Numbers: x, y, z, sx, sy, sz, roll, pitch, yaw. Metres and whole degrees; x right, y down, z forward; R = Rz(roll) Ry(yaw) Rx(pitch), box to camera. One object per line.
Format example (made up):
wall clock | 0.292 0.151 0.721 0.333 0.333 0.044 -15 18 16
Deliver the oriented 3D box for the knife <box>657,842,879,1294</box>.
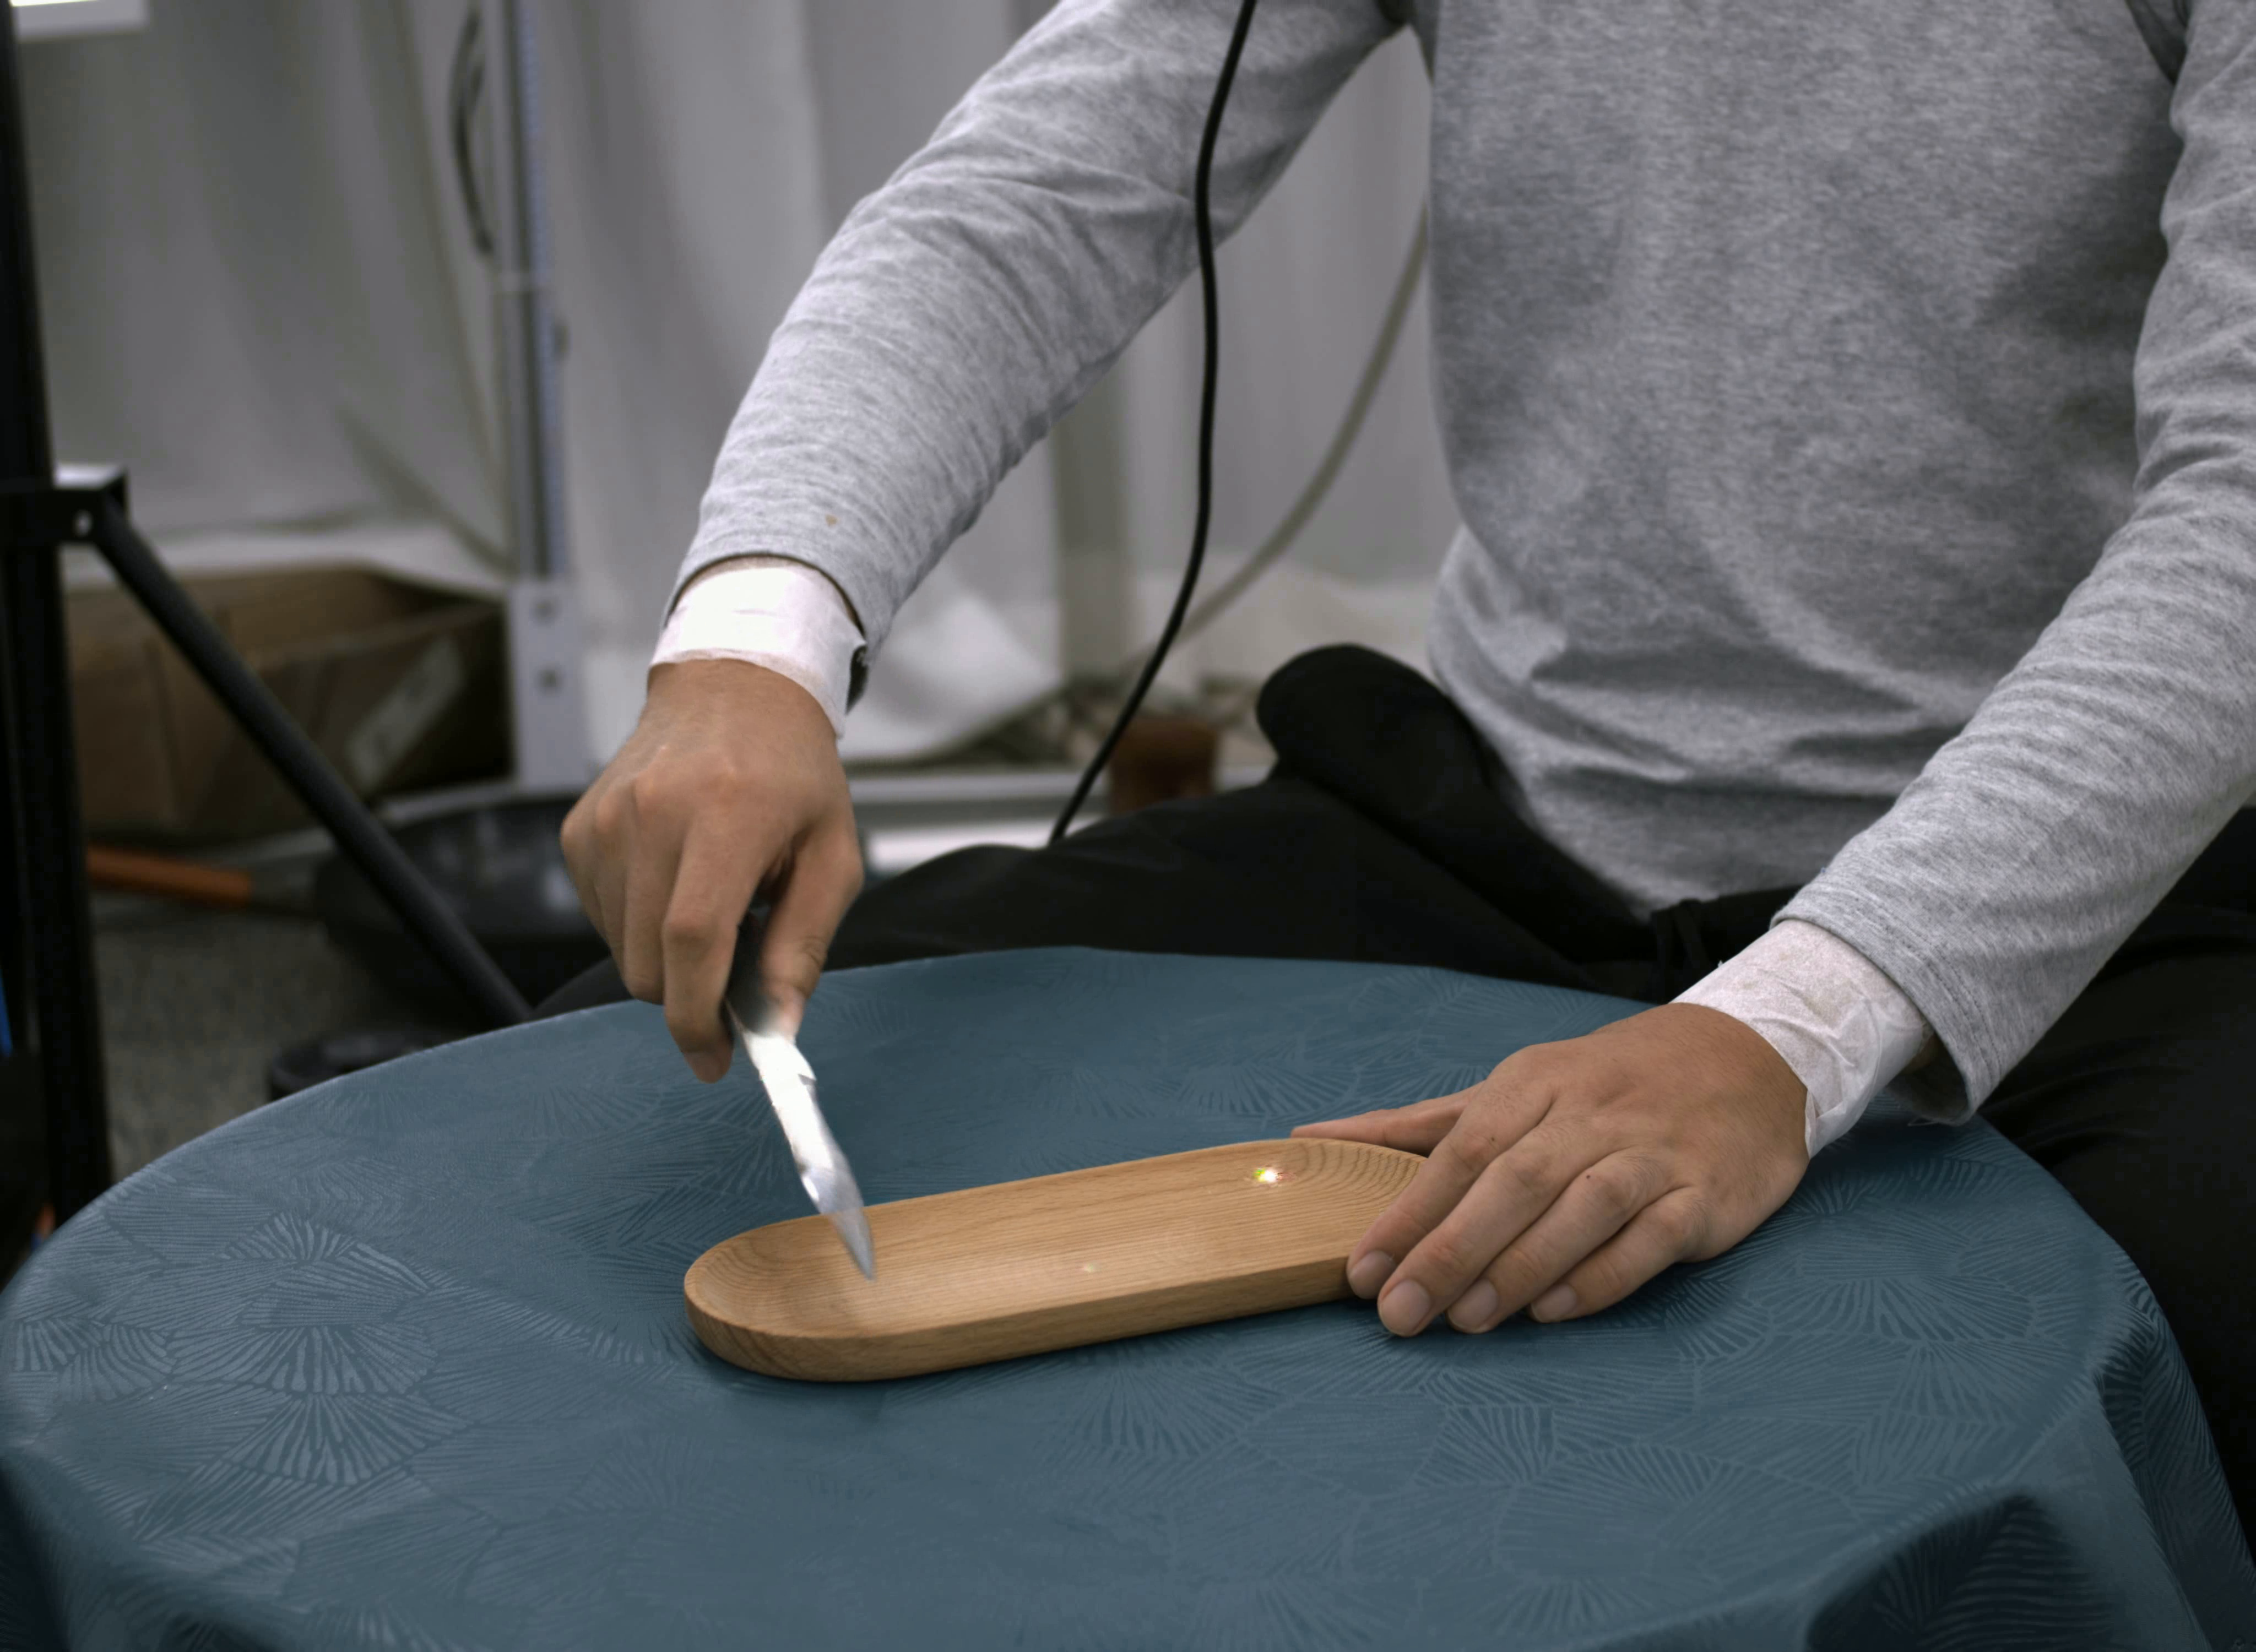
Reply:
knife | -0.102 0.065 1.510 0.024 0.016 0.242 25 18 -28

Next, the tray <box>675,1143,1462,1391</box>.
tray | -0.014 0.123 1.484 0.227 0.020 0.103 -10 16 -21
